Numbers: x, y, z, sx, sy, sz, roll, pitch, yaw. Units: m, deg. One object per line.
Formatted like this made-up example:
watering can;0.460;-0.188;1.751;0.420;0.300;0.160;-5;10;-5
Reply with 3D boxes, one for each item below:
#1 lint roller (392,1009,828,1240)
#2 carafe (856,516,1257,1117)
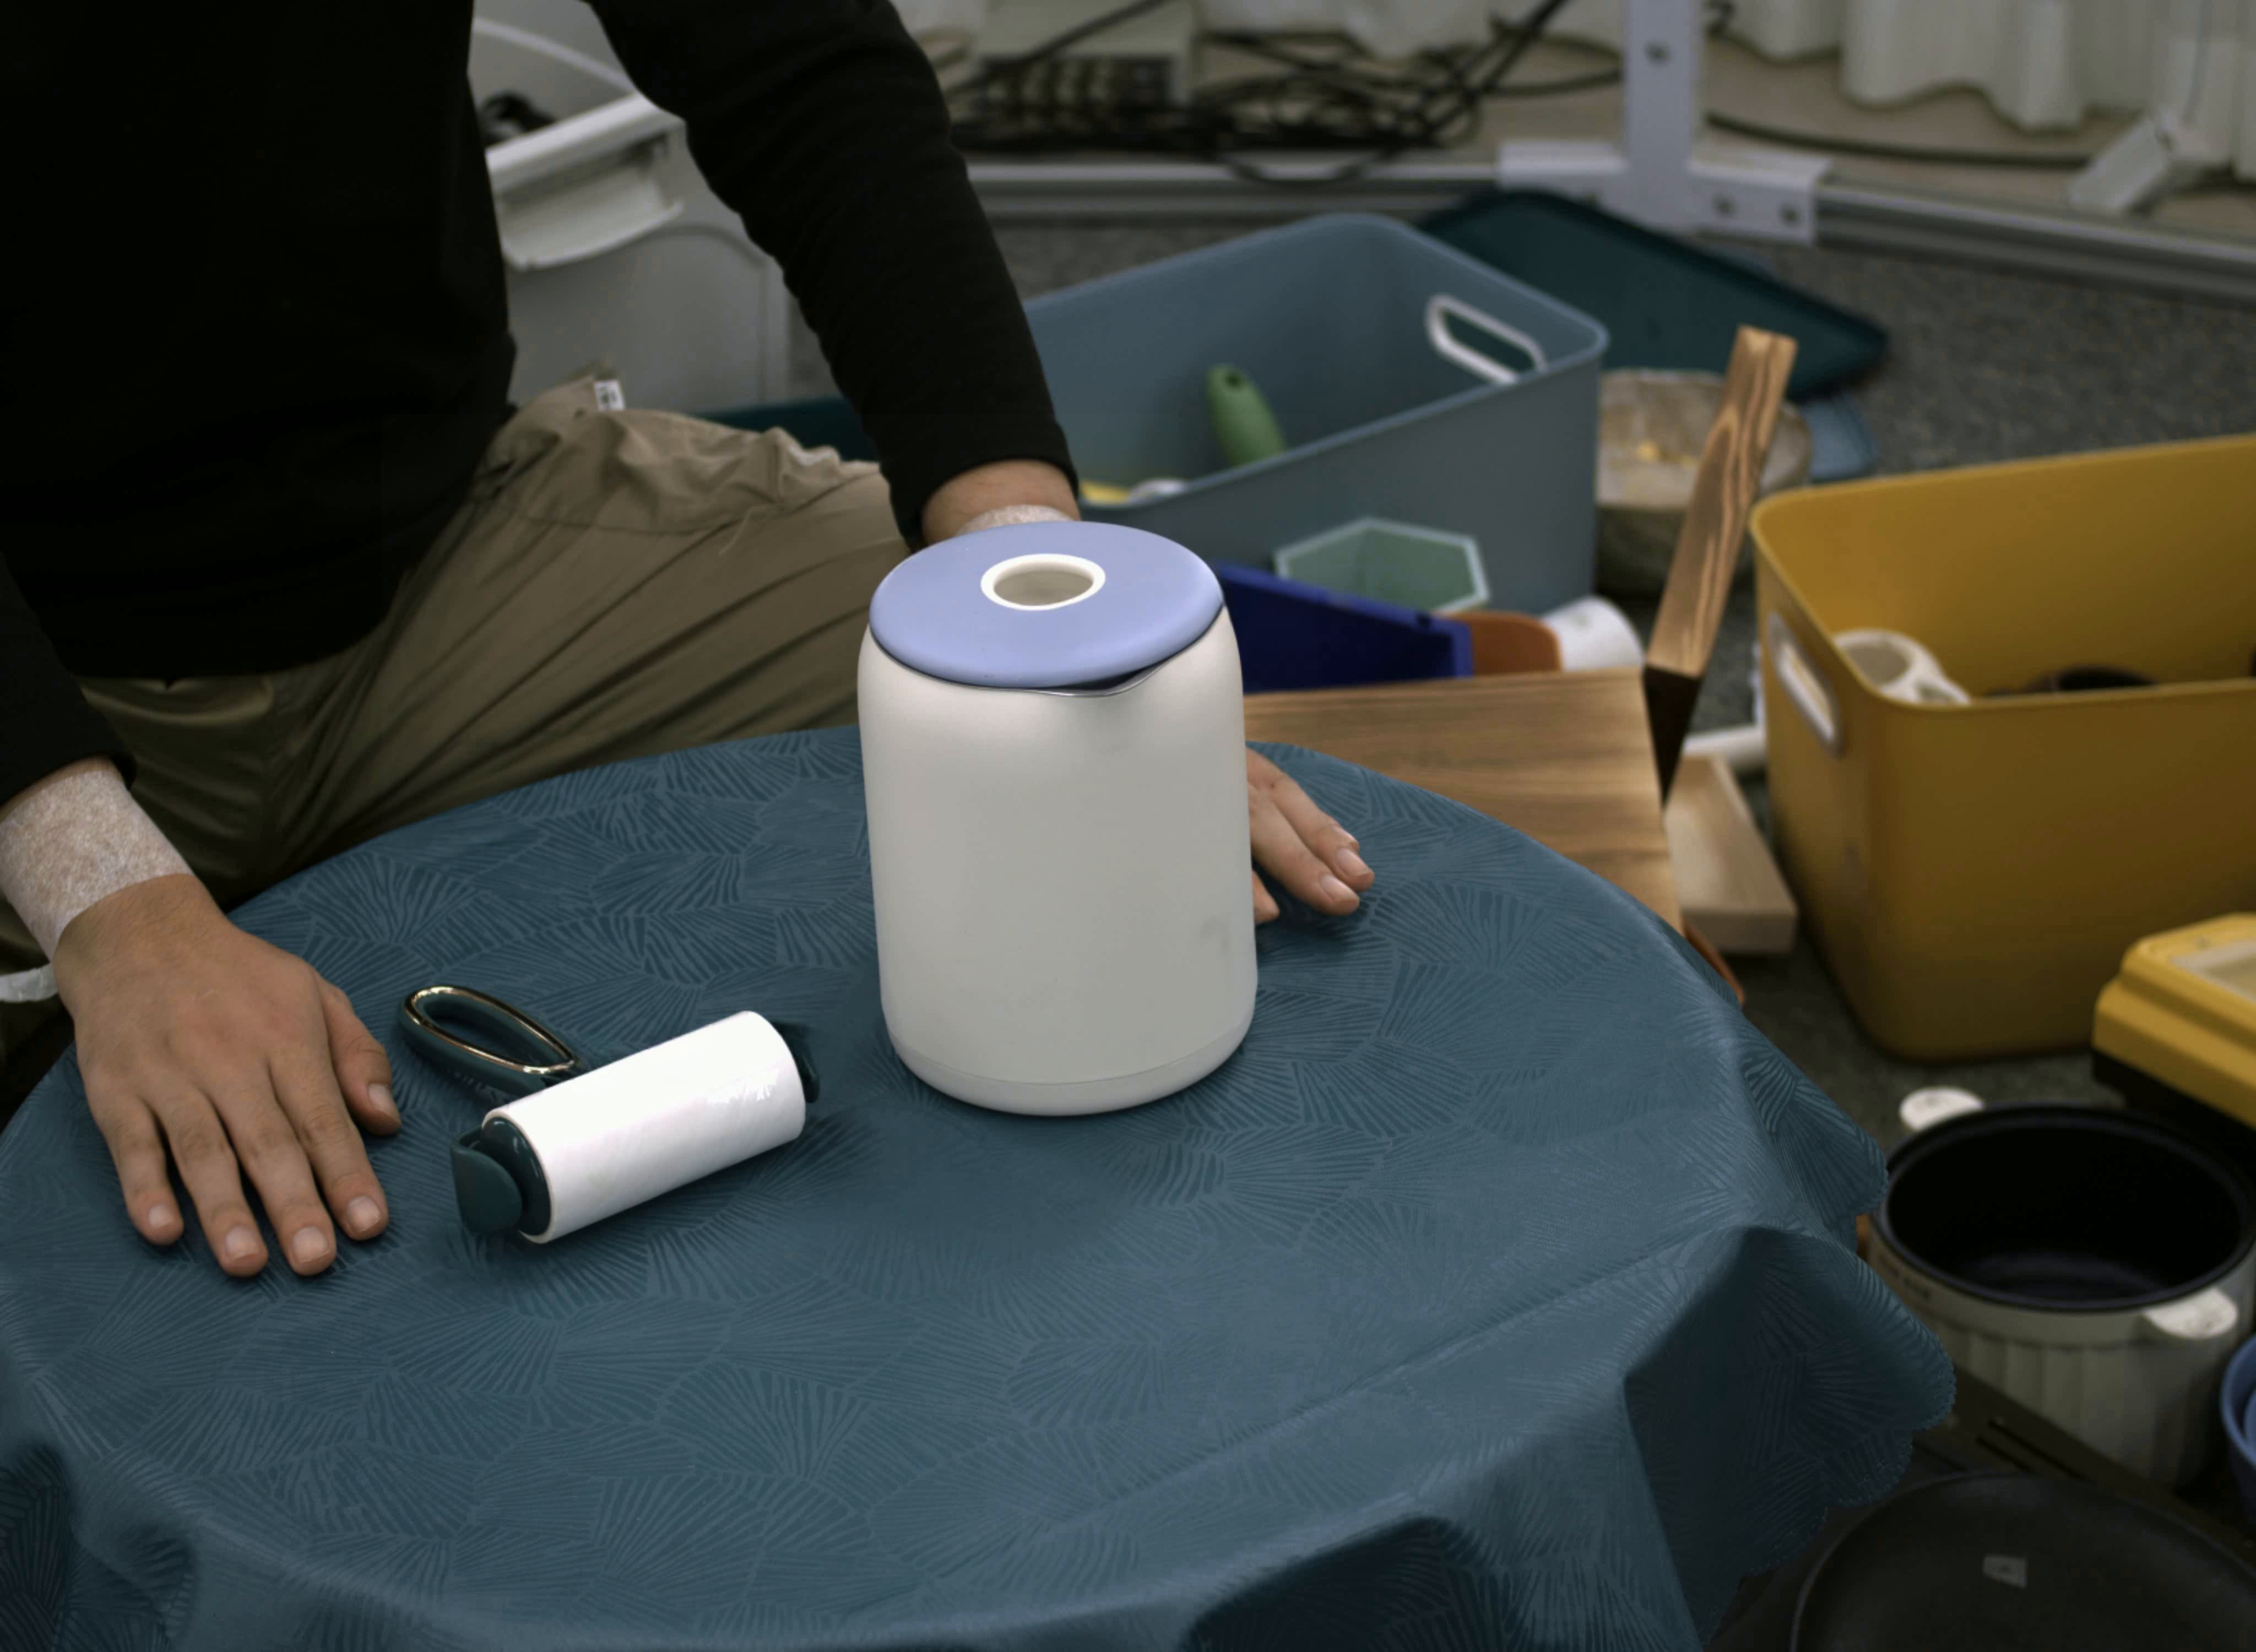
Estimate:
lint roller;-0.202;0.079;1.918;0.135;0.048;0.180;-21;29;-31
carafe;-0.033;-0.014;1.941;0.132;0.181;0.192;-12;26;-18
